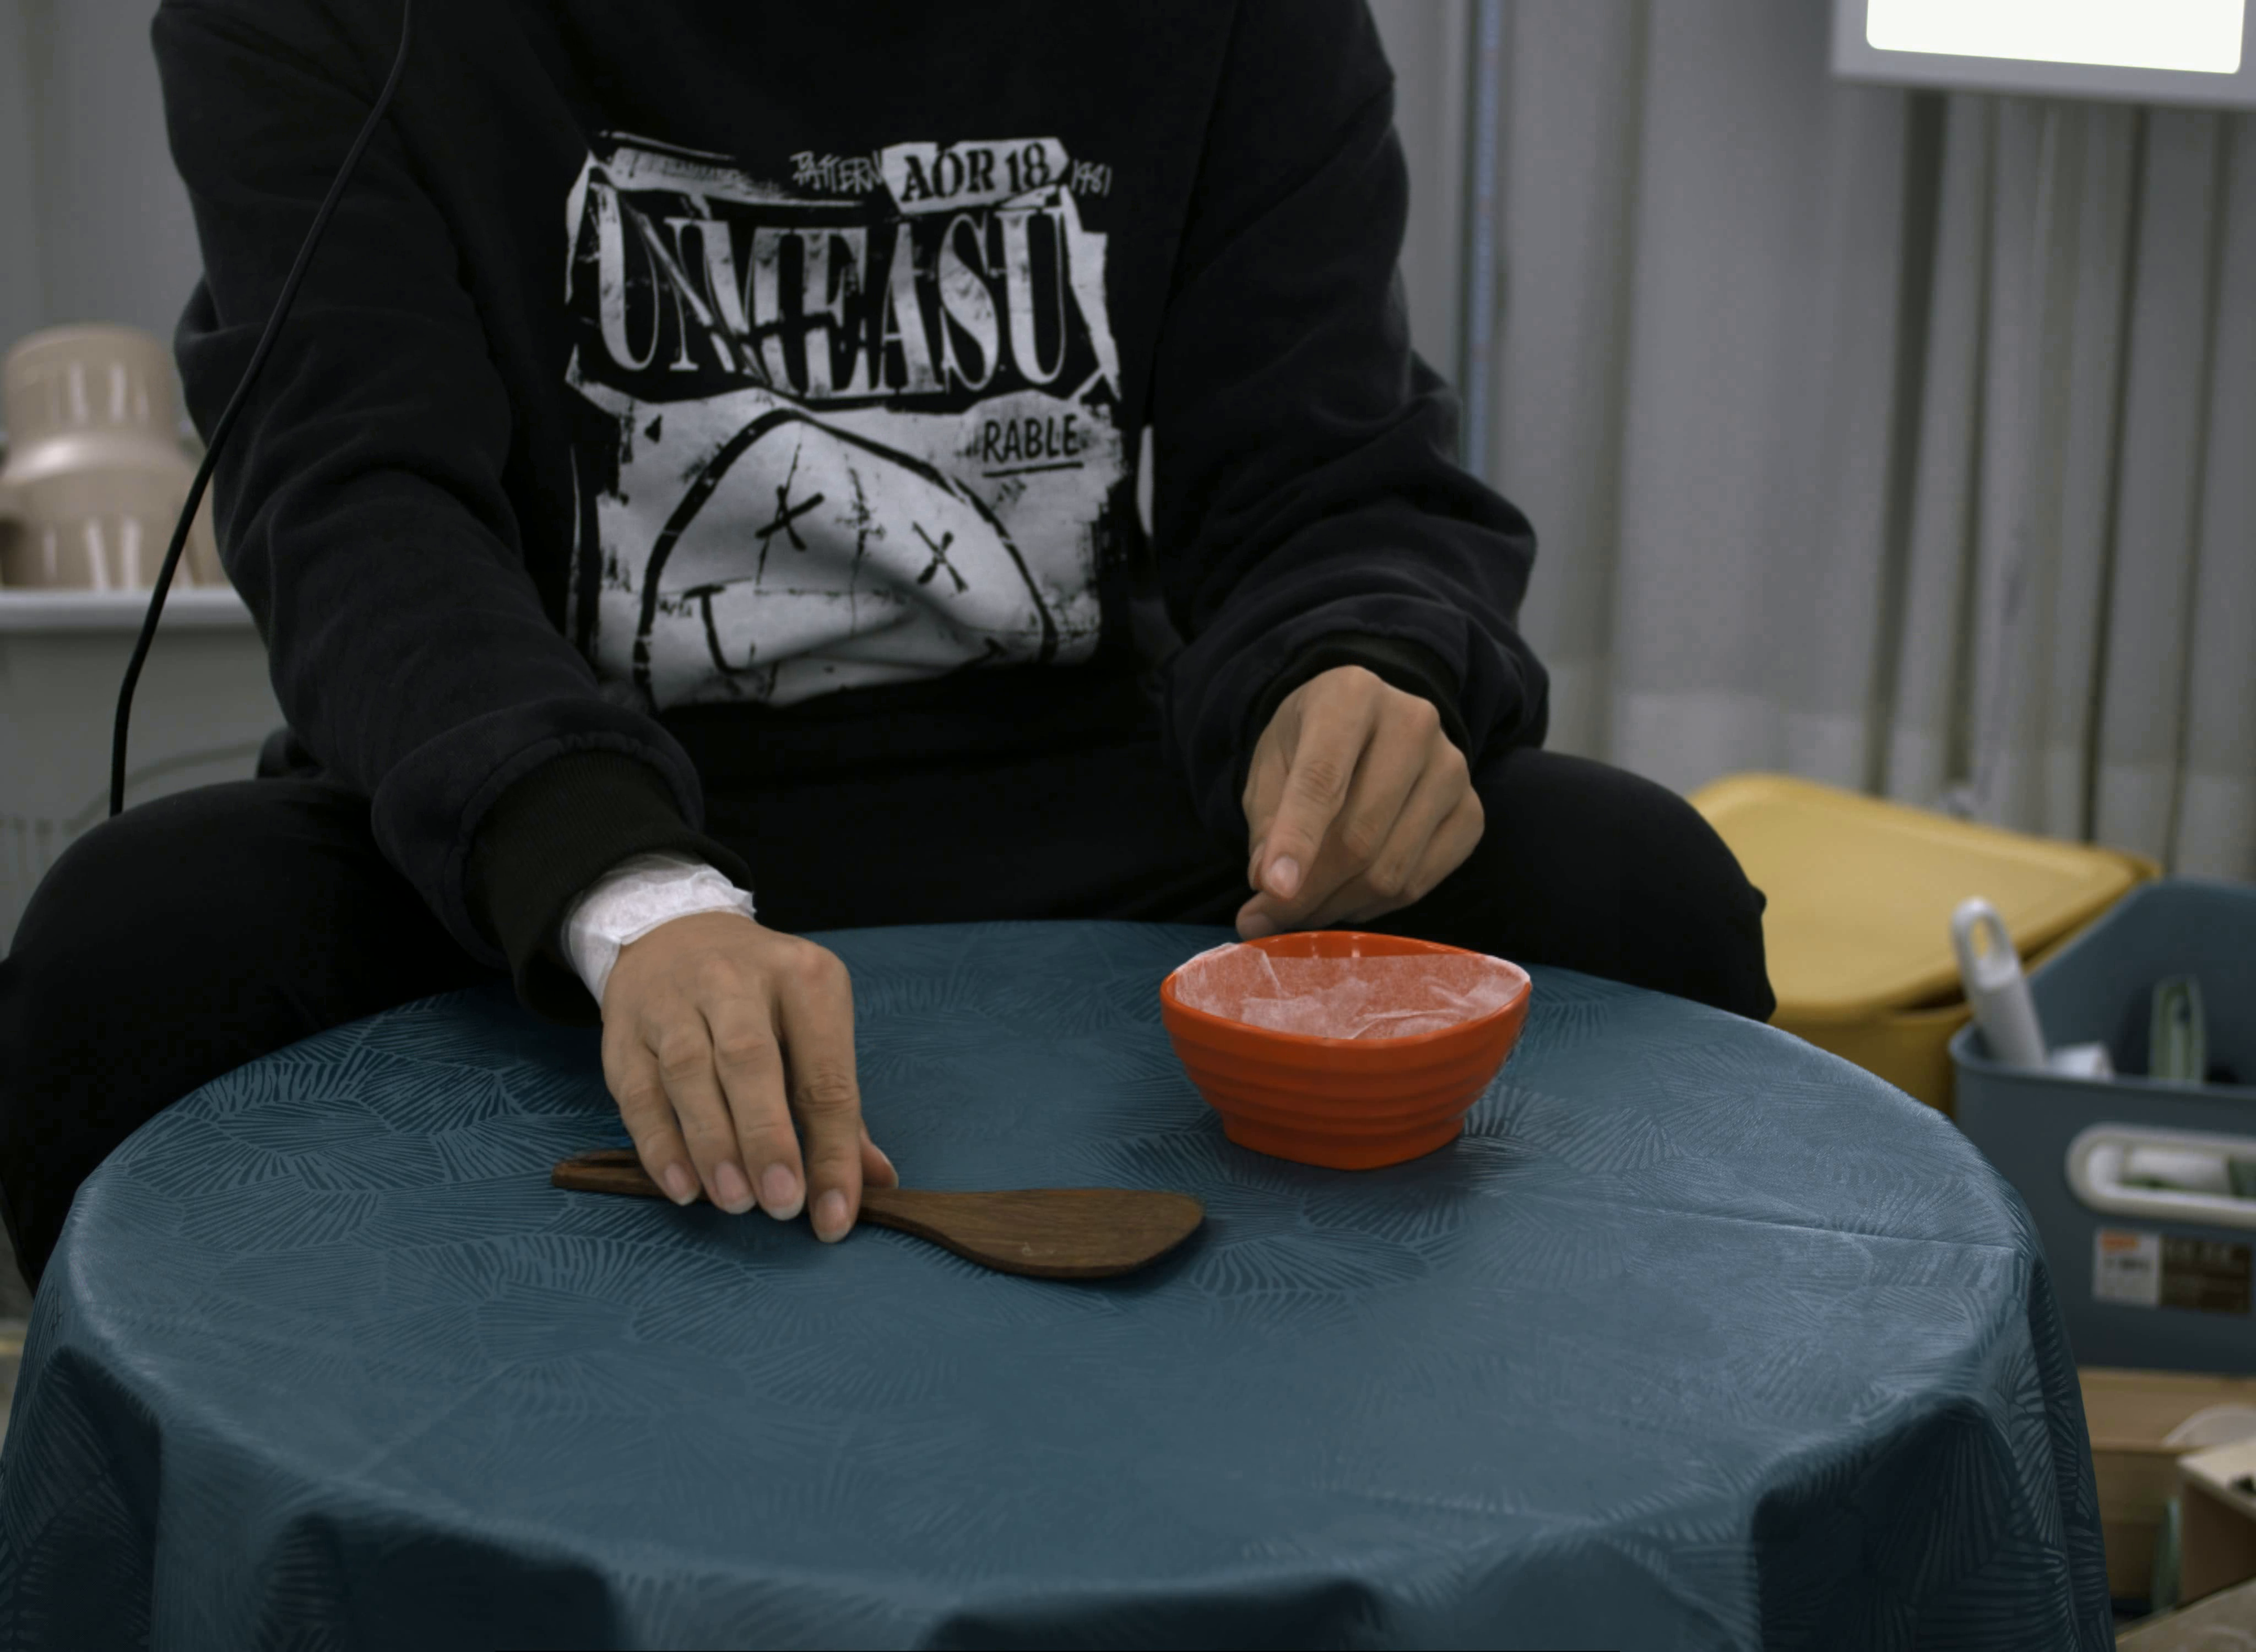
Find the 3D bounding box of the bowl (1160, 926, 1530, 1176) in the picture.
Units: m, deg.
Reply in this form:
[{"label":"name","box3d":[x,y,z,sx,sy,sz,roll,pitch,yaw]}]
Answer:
[{"label":"bowl","box3d":[0.069,0.074,1.675,0.118,0.052,0.118,1,18,0]}]

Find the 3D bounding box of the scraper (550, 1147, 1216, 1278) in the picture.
[{"label":"scraper","box3d":[-0.078,0.115,1.602,0.209,0.011,0.076,6,15,20]}]
